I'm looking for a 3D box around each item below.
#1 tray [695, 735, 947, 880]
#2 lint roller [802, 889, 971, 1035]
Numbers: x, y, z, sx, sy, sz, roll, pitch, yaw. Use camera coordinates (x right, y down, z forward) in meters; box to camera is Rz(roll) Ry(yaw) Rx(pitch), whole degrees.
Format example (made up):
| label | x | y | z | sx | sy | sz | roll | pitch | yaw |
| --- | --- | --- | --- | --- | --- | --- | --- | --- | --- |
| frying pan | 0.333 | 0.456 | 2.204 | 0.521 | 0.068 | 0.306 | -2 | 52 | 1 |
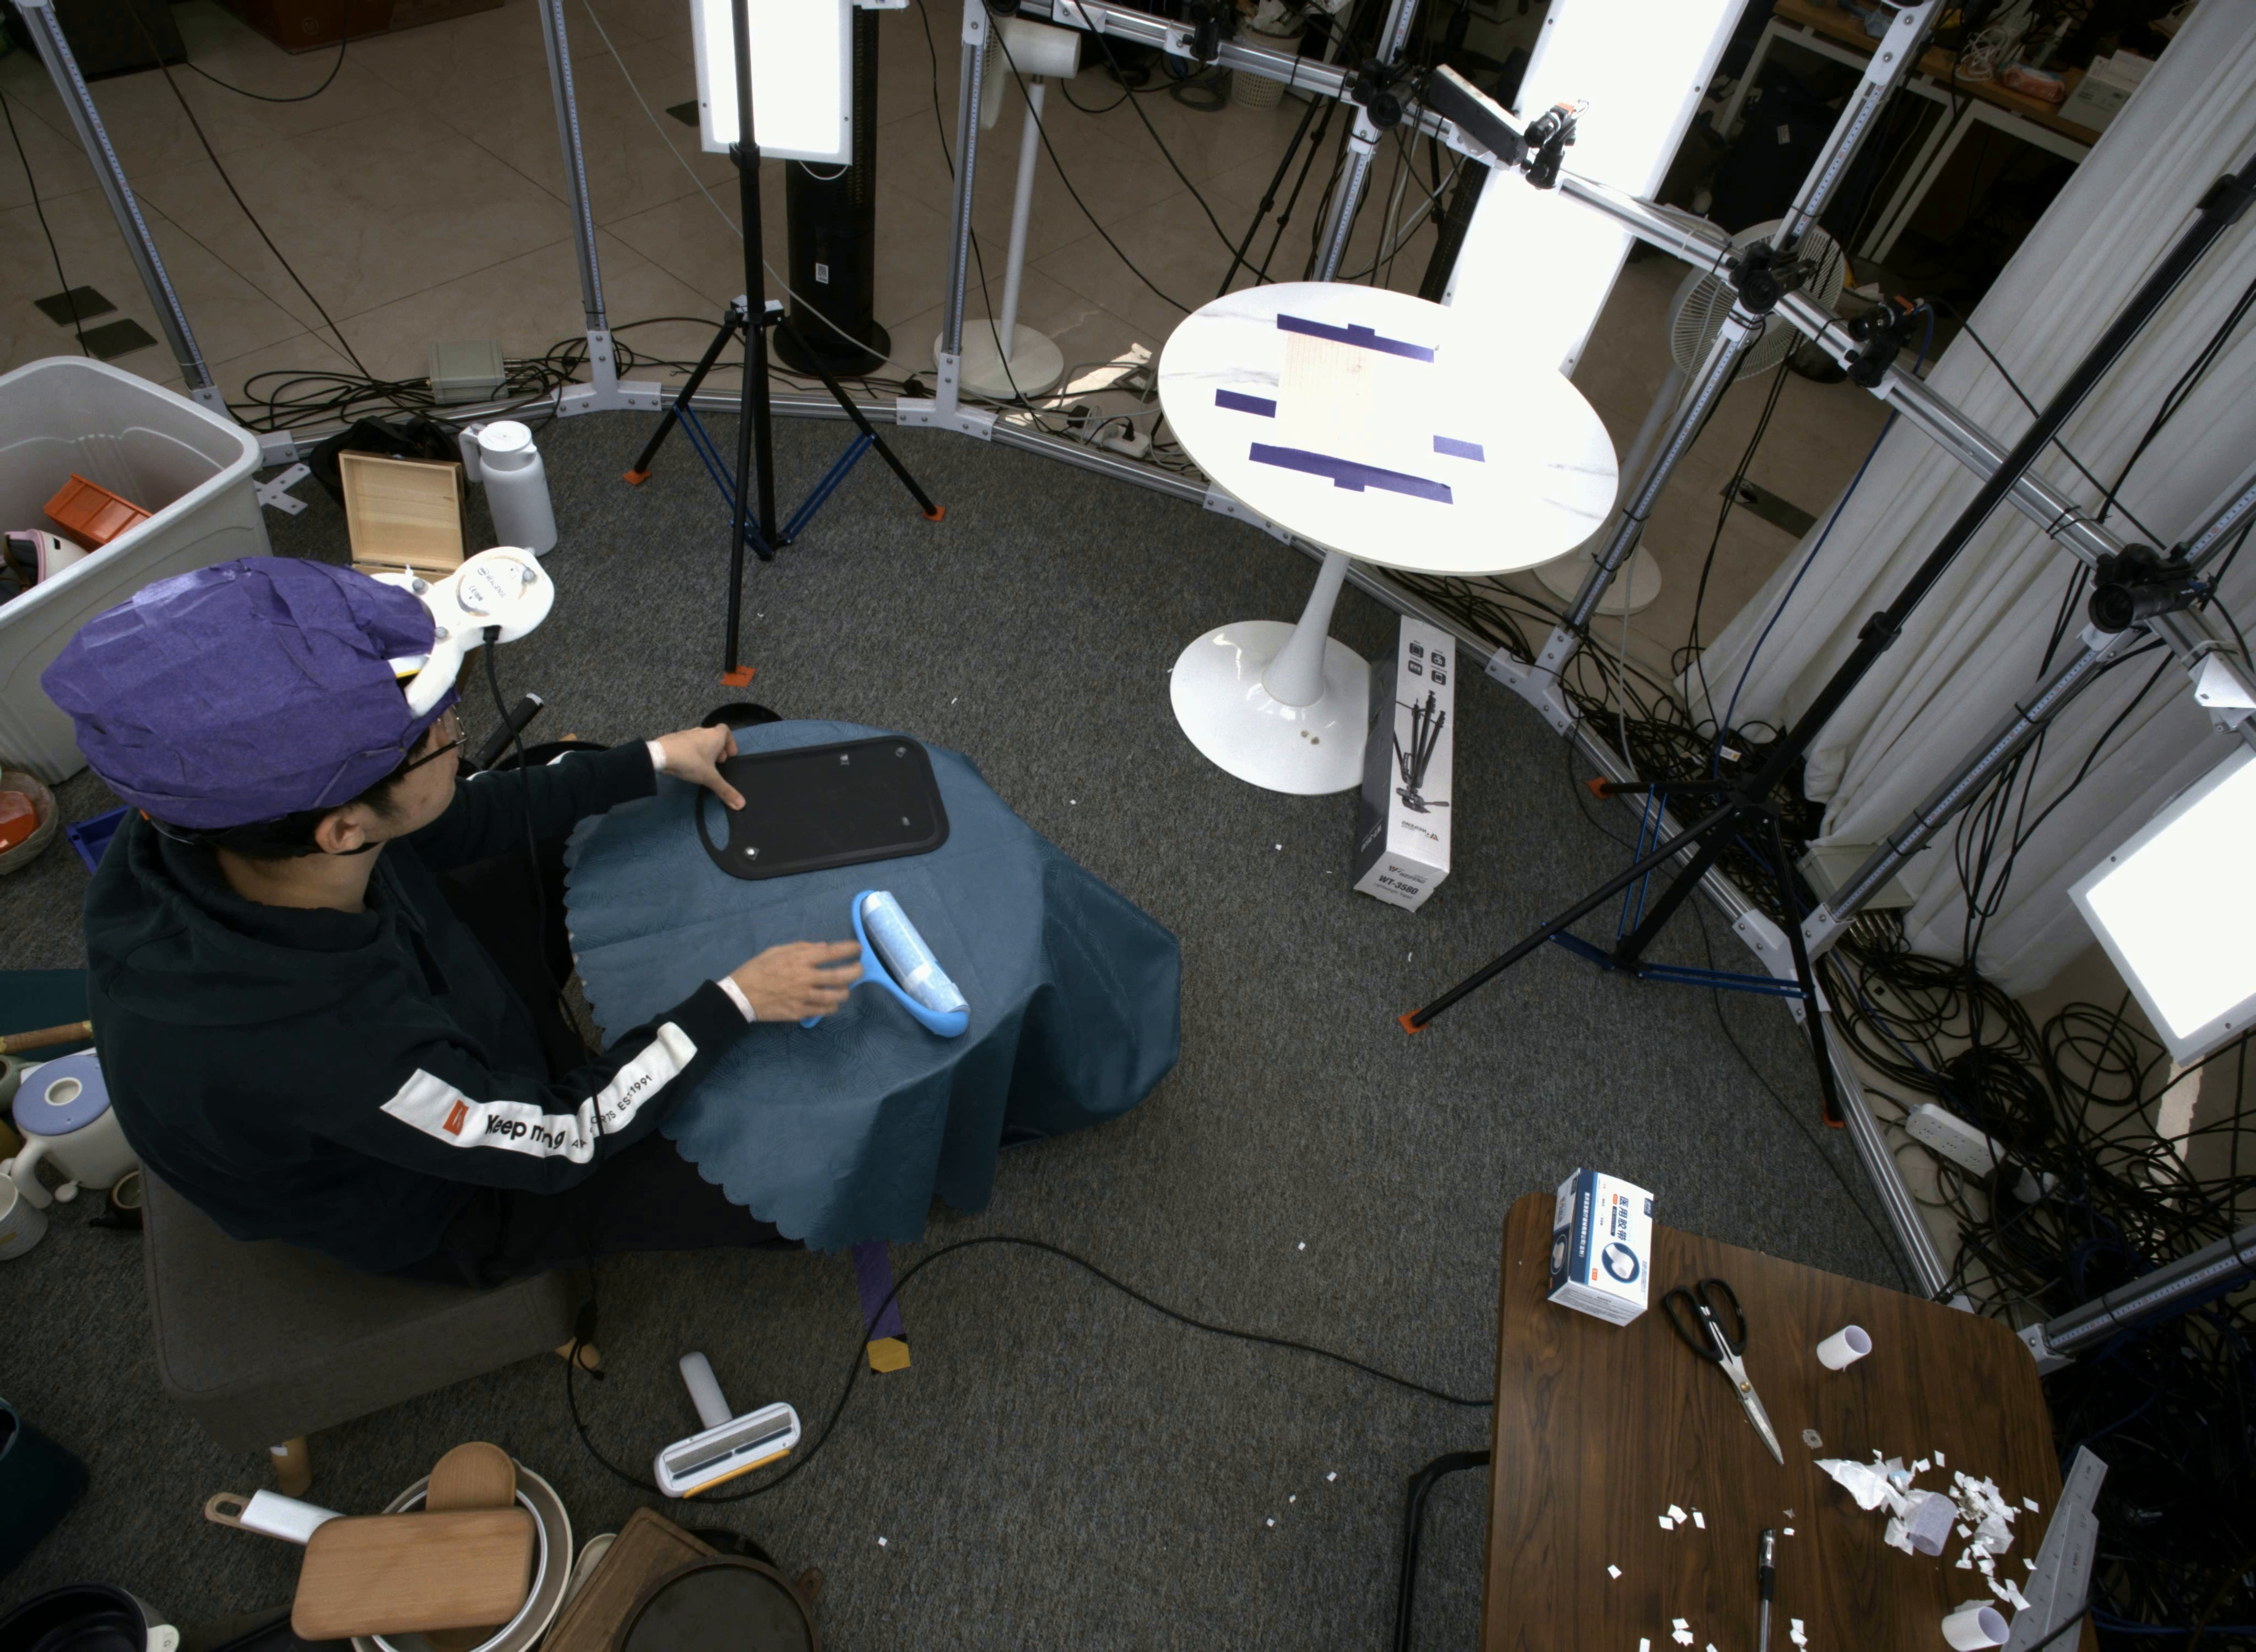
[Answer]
| label | x | y | z | sx | sy | sz | roll | pitch | yaw |
| --- | --- | --- | --- | --- | --- | --- | --- | --- | --- |
| tray | -0.416 | -0.030 | 1.750 | 0.327 | 0.010 | 0.206 | -9 | 57 | -21 |
| lint roller | -0.314 | 0.187 | 1.584 | 0.181 | 0.069 | 0.224 | -28 | 67 | -32 |
